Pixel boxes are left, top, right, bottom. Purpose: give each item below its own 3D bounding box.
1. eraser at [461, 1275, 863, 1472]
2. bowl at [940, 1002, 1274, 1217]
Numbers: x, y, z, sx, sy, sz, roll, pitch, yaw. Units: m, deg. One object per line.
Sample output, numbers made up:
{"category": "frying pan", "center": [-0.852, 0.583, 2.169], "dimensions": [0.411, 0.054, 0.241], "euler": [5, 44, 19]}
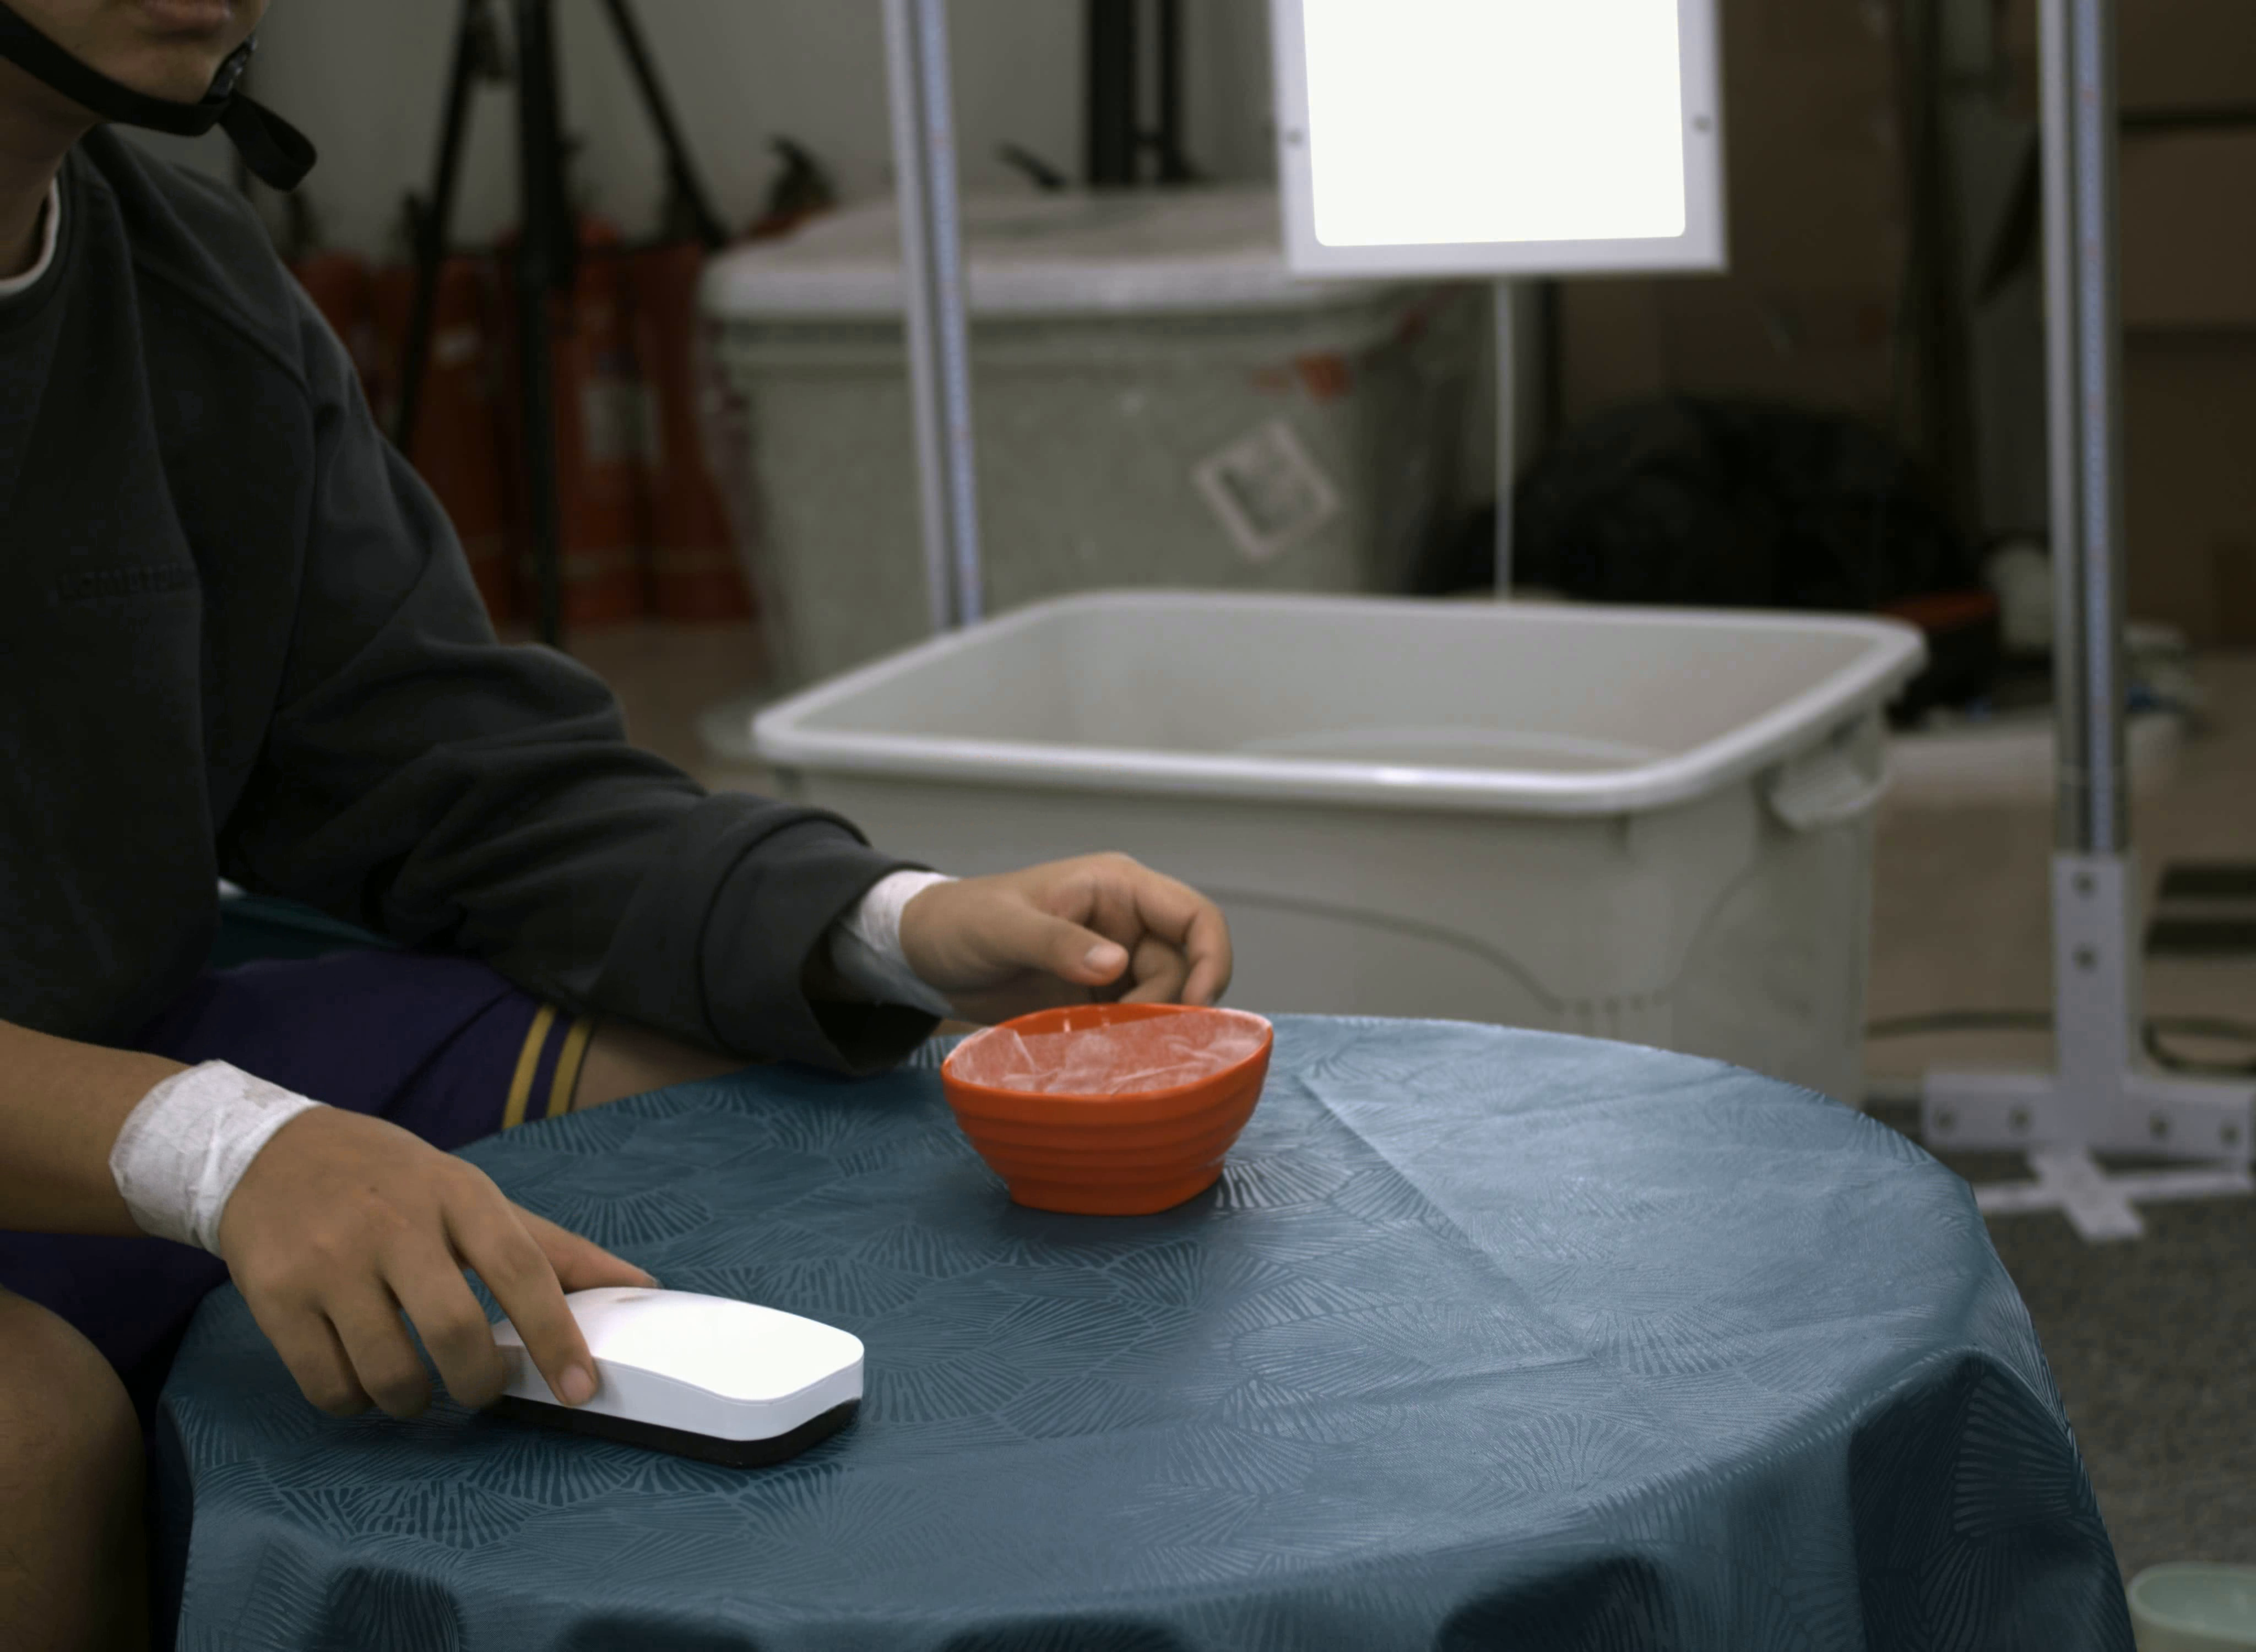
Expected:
{"category": "eraser", "center": [-0.144, 0.168, 1.714], "dimensions": [0.134, 0.034, 0.062], "euler": [9, 18, 39]}
{"category": "bowl", "center": [-0.005, 0.100, 1.900], "dimensions": [0.118, 0.051, 0.119], "euler": [-6, 14, 0]}
